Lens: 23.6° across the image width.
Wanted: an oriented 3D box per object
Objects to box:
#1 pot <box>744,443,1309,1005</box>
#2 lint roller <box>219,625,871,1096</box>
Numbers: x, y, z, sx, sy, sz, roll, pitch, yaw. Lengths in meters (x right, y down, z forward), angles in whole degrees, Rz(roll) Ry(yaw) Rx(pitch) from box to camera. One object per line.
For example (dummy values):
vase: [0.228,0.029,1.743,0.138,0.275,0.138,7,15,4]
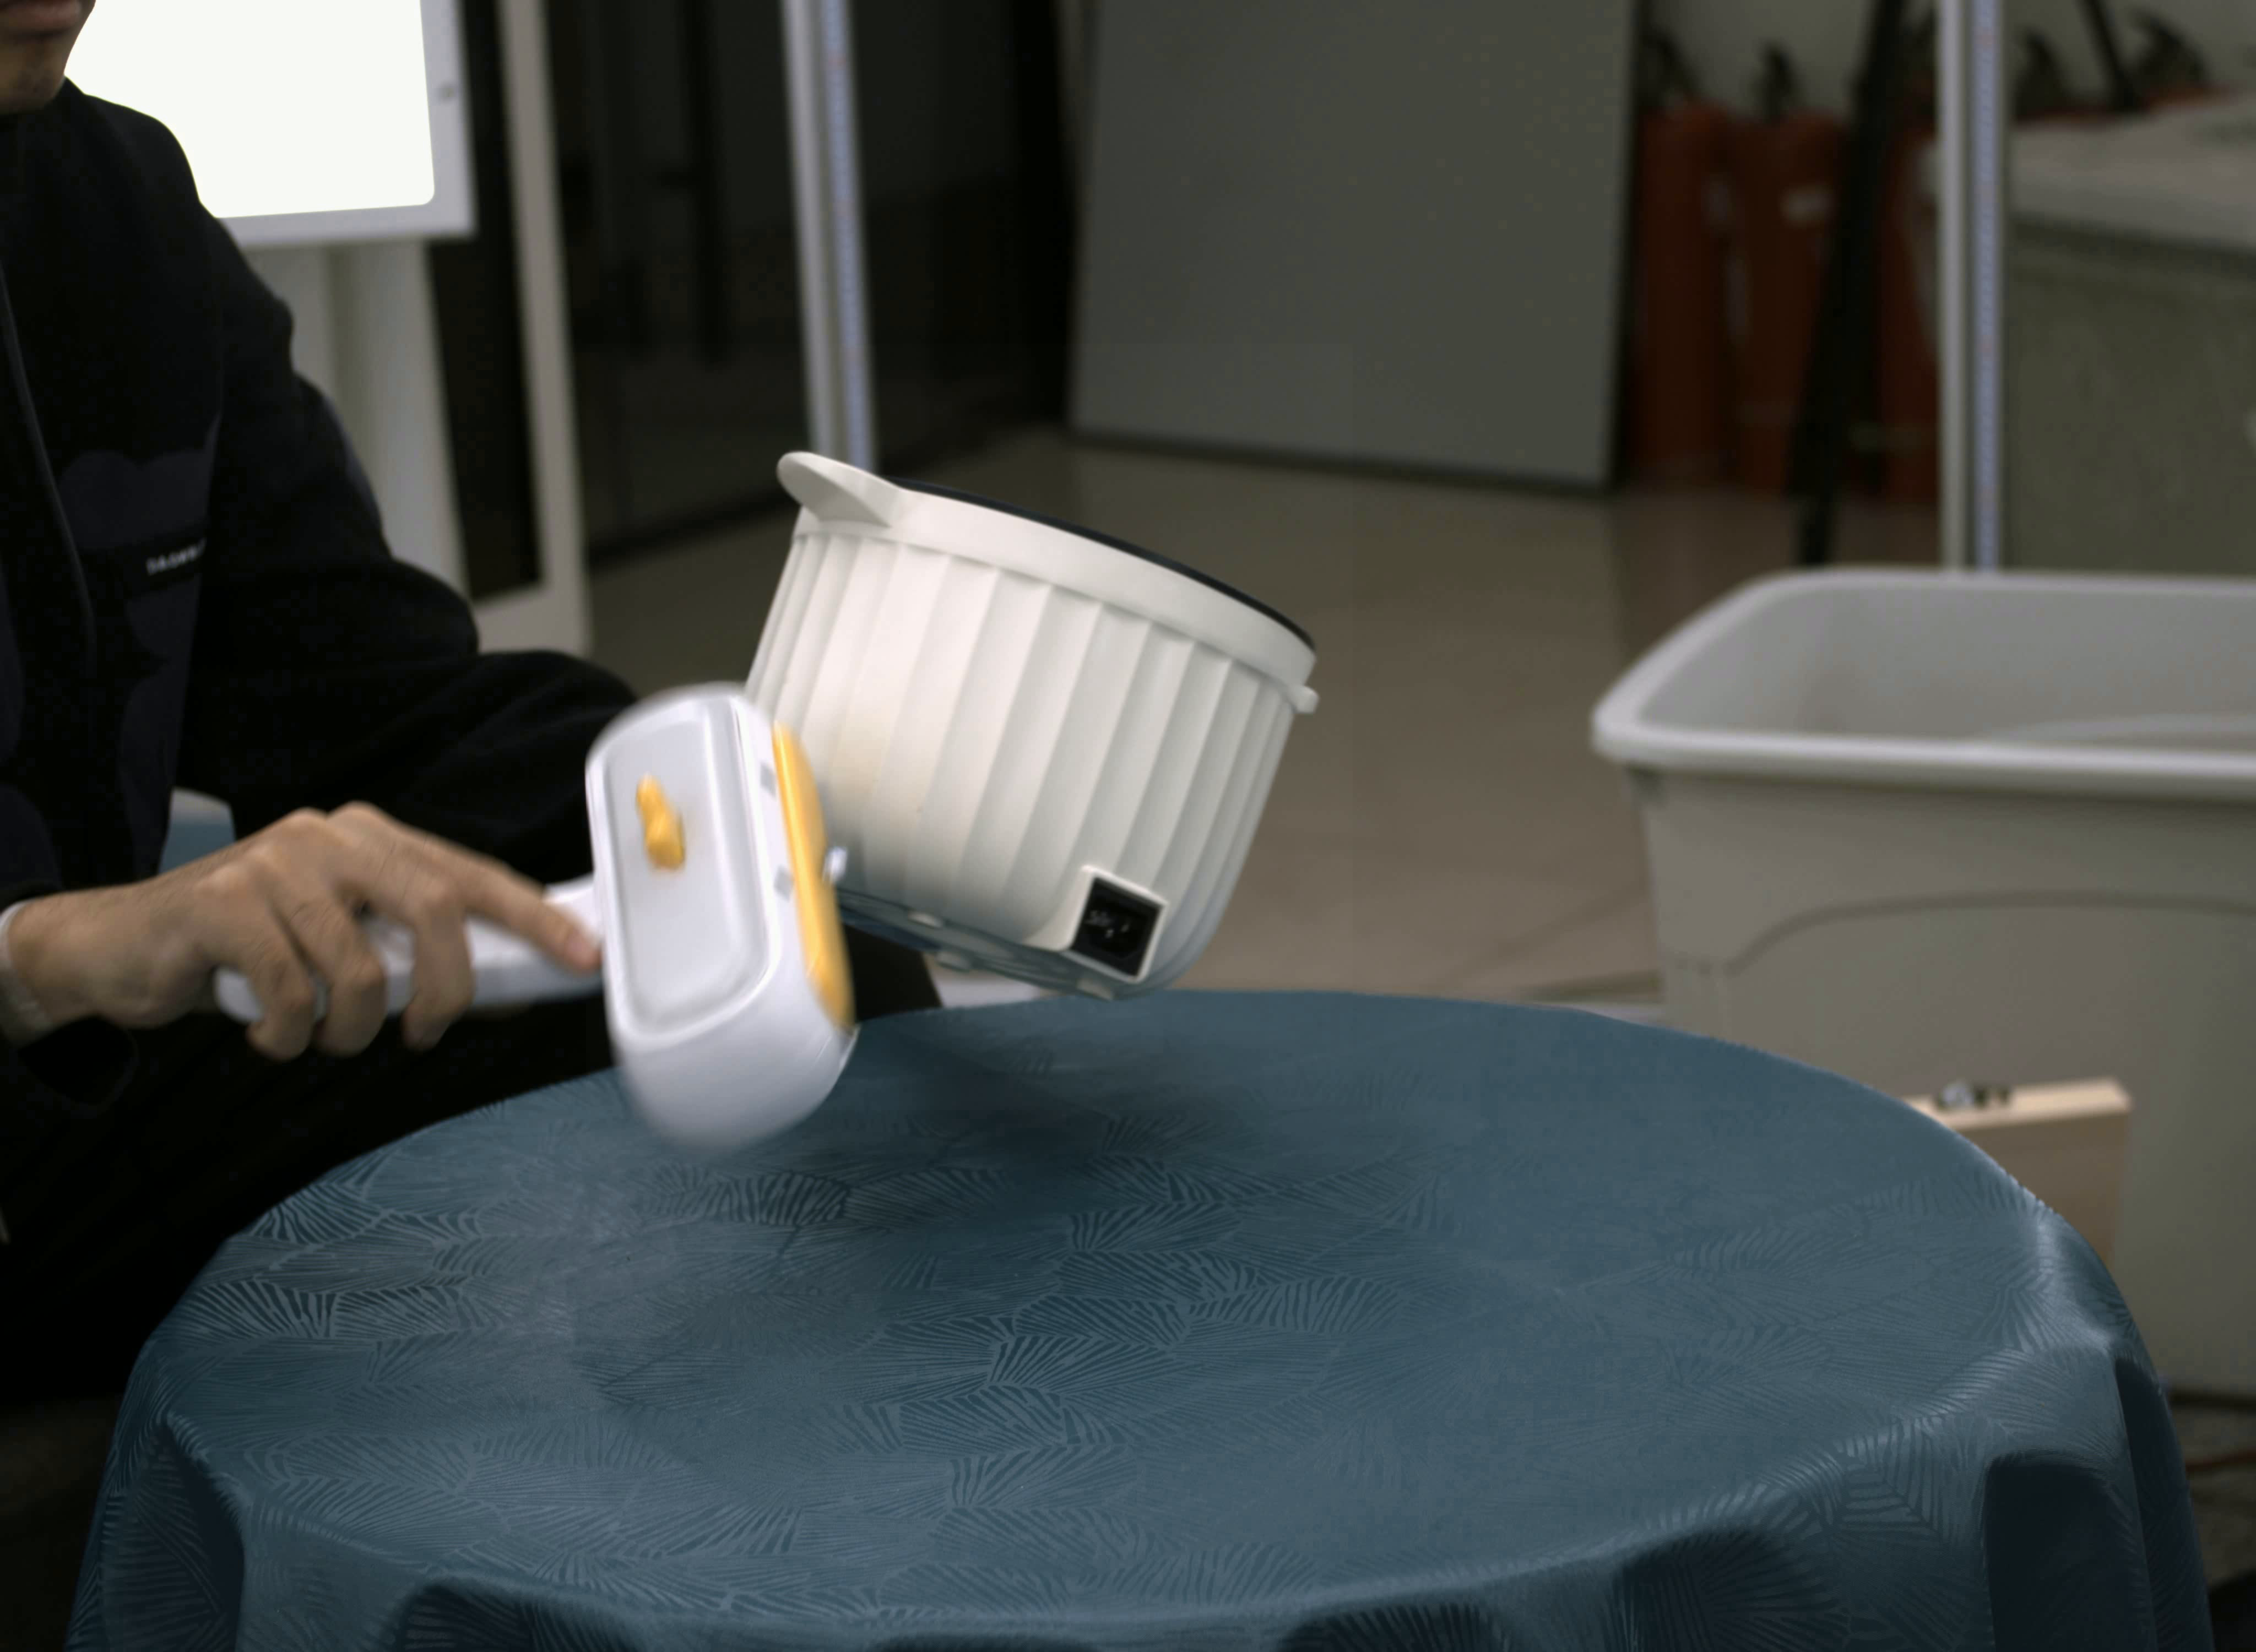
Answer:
pot: [-0.049,-0.025,1.810,0.236,0.144,0.192,26,-8,-38]
lint roller: [-0.184,0.026,1.675,0.190,0.074,0.195,-22,41,-1]
